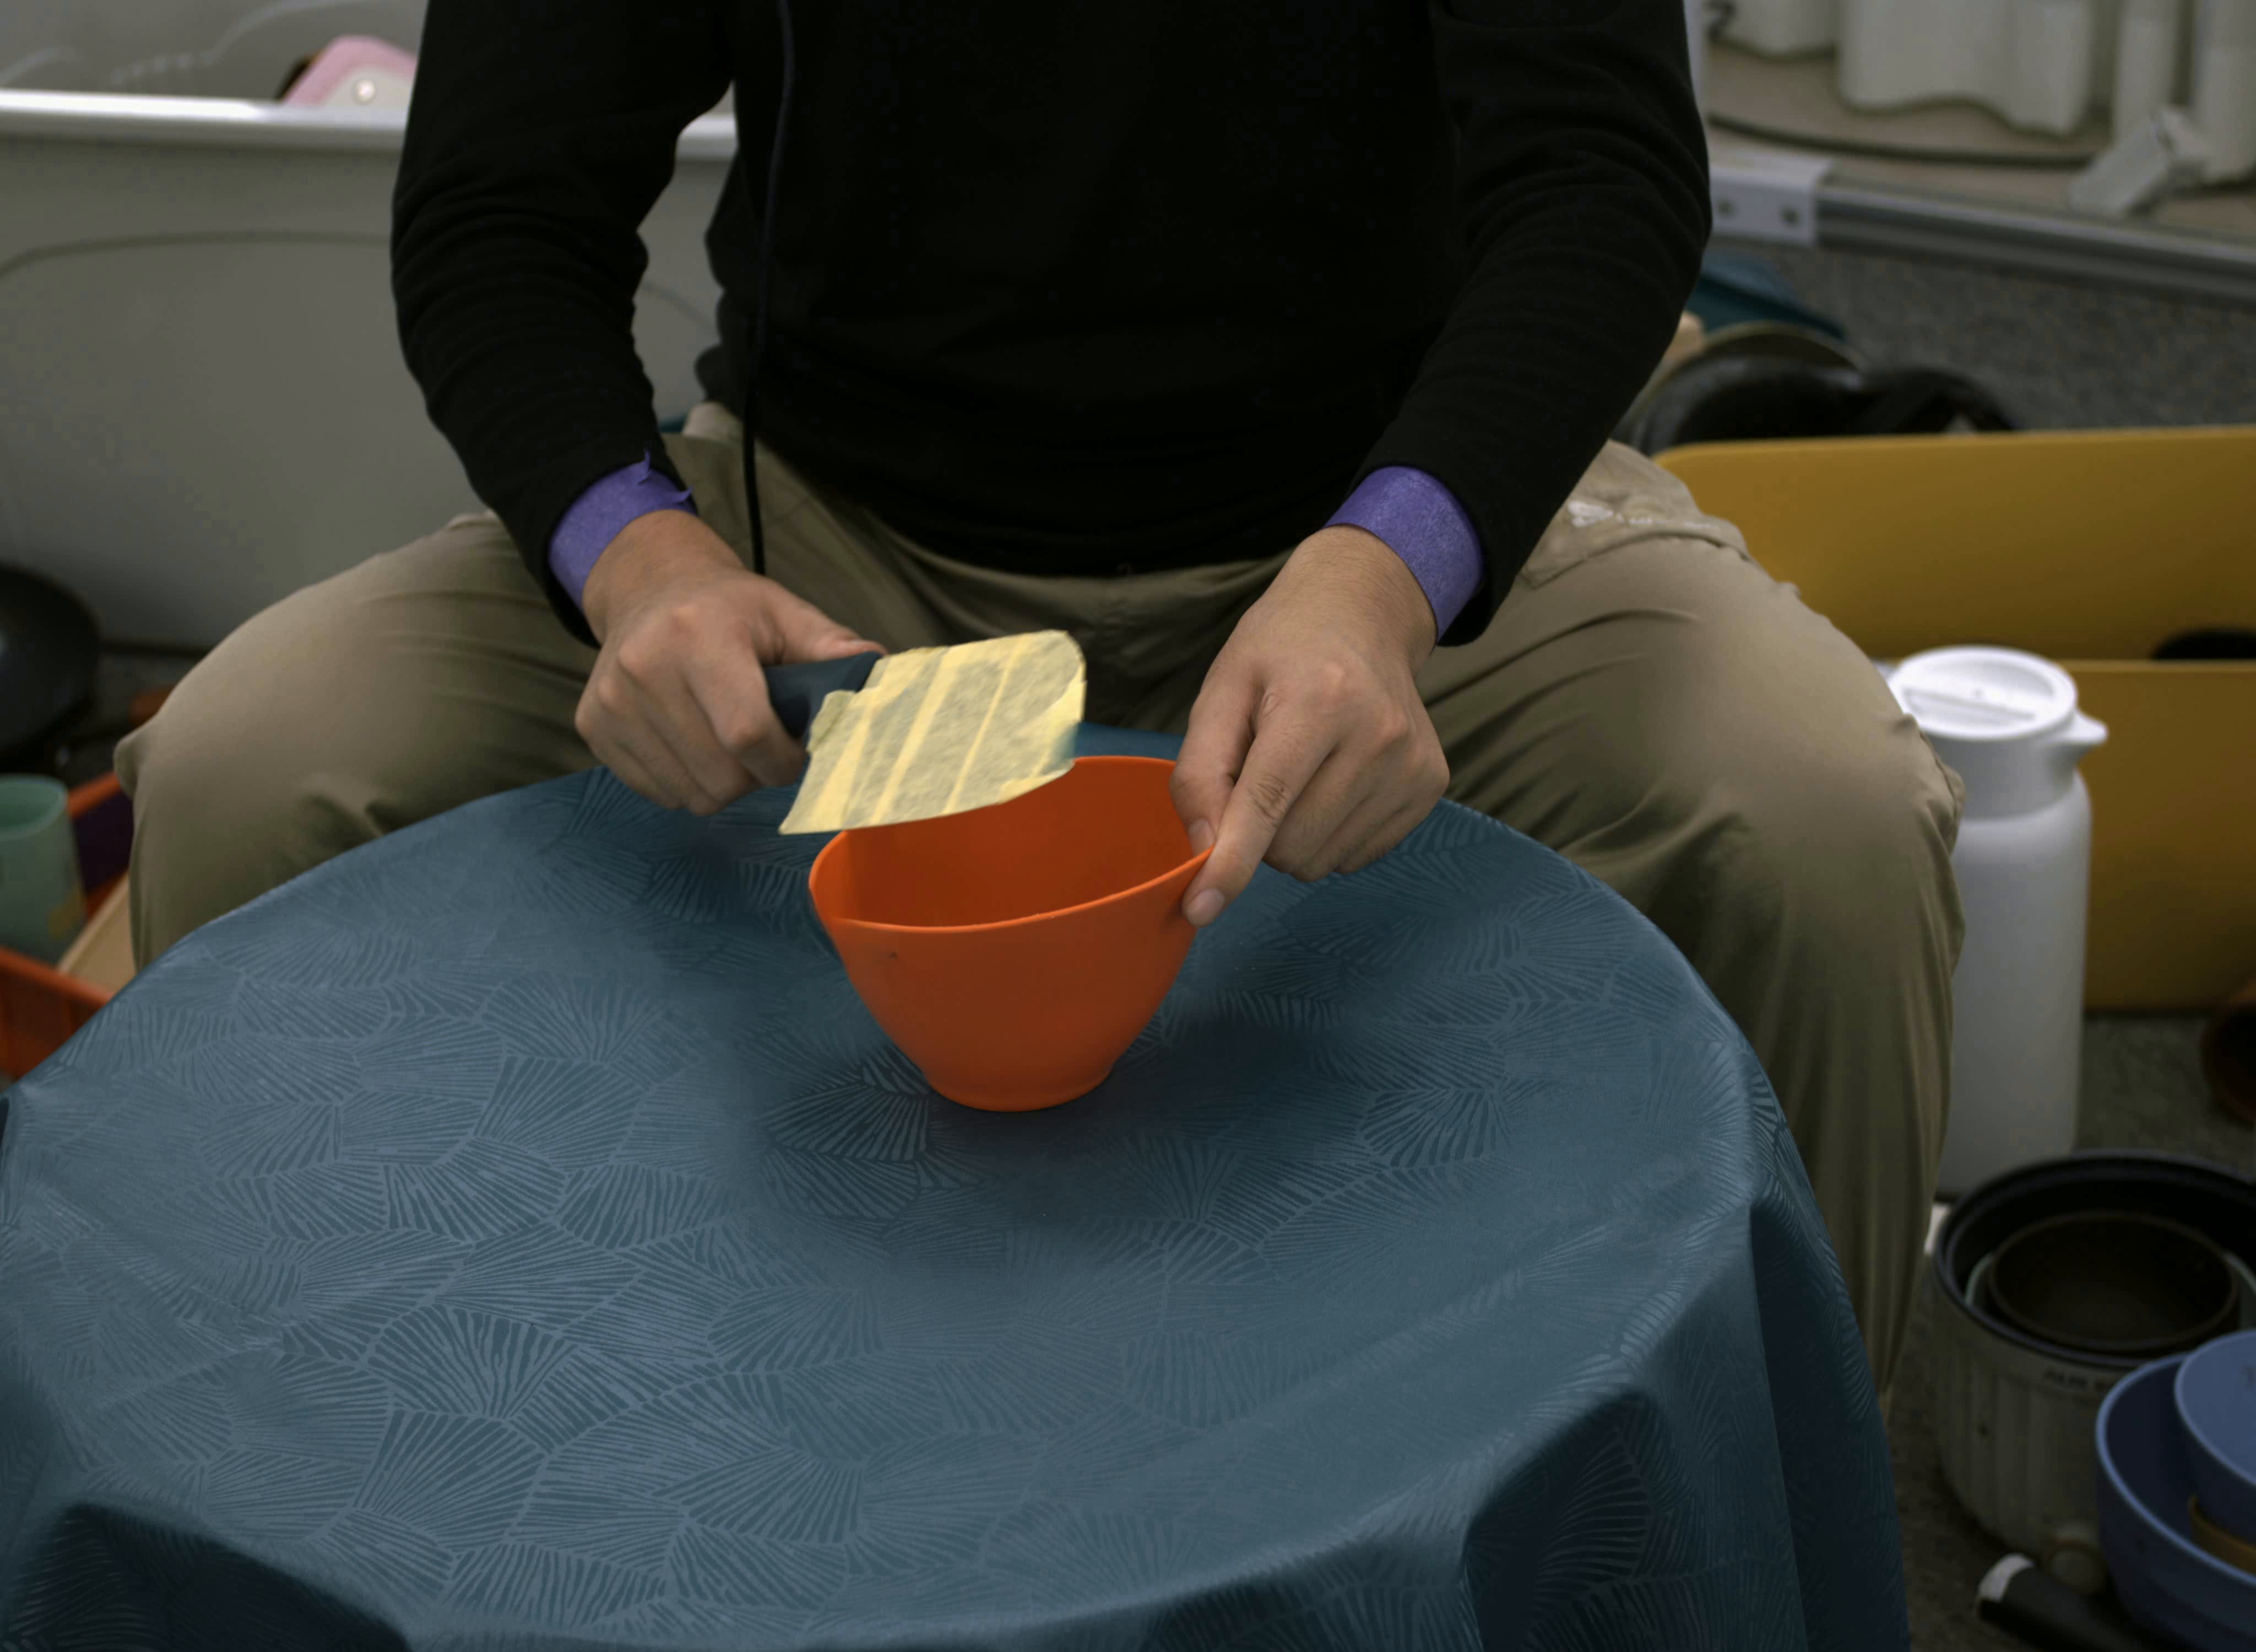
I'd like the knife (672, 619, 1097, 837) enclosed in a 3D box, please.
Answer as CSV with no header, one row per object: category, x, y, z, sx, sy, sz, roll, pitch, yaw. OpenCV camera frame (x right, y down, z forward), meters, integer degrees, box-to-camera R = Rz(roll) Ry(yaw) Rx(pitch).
knife,-0.090,-0.031,1.962,0.287,0.027,0.082,-6,51,58

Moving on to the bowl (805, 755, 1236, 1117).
bowl,-0.034,0.042,1.908,0.147,0.103,0.150,-3,27,2
